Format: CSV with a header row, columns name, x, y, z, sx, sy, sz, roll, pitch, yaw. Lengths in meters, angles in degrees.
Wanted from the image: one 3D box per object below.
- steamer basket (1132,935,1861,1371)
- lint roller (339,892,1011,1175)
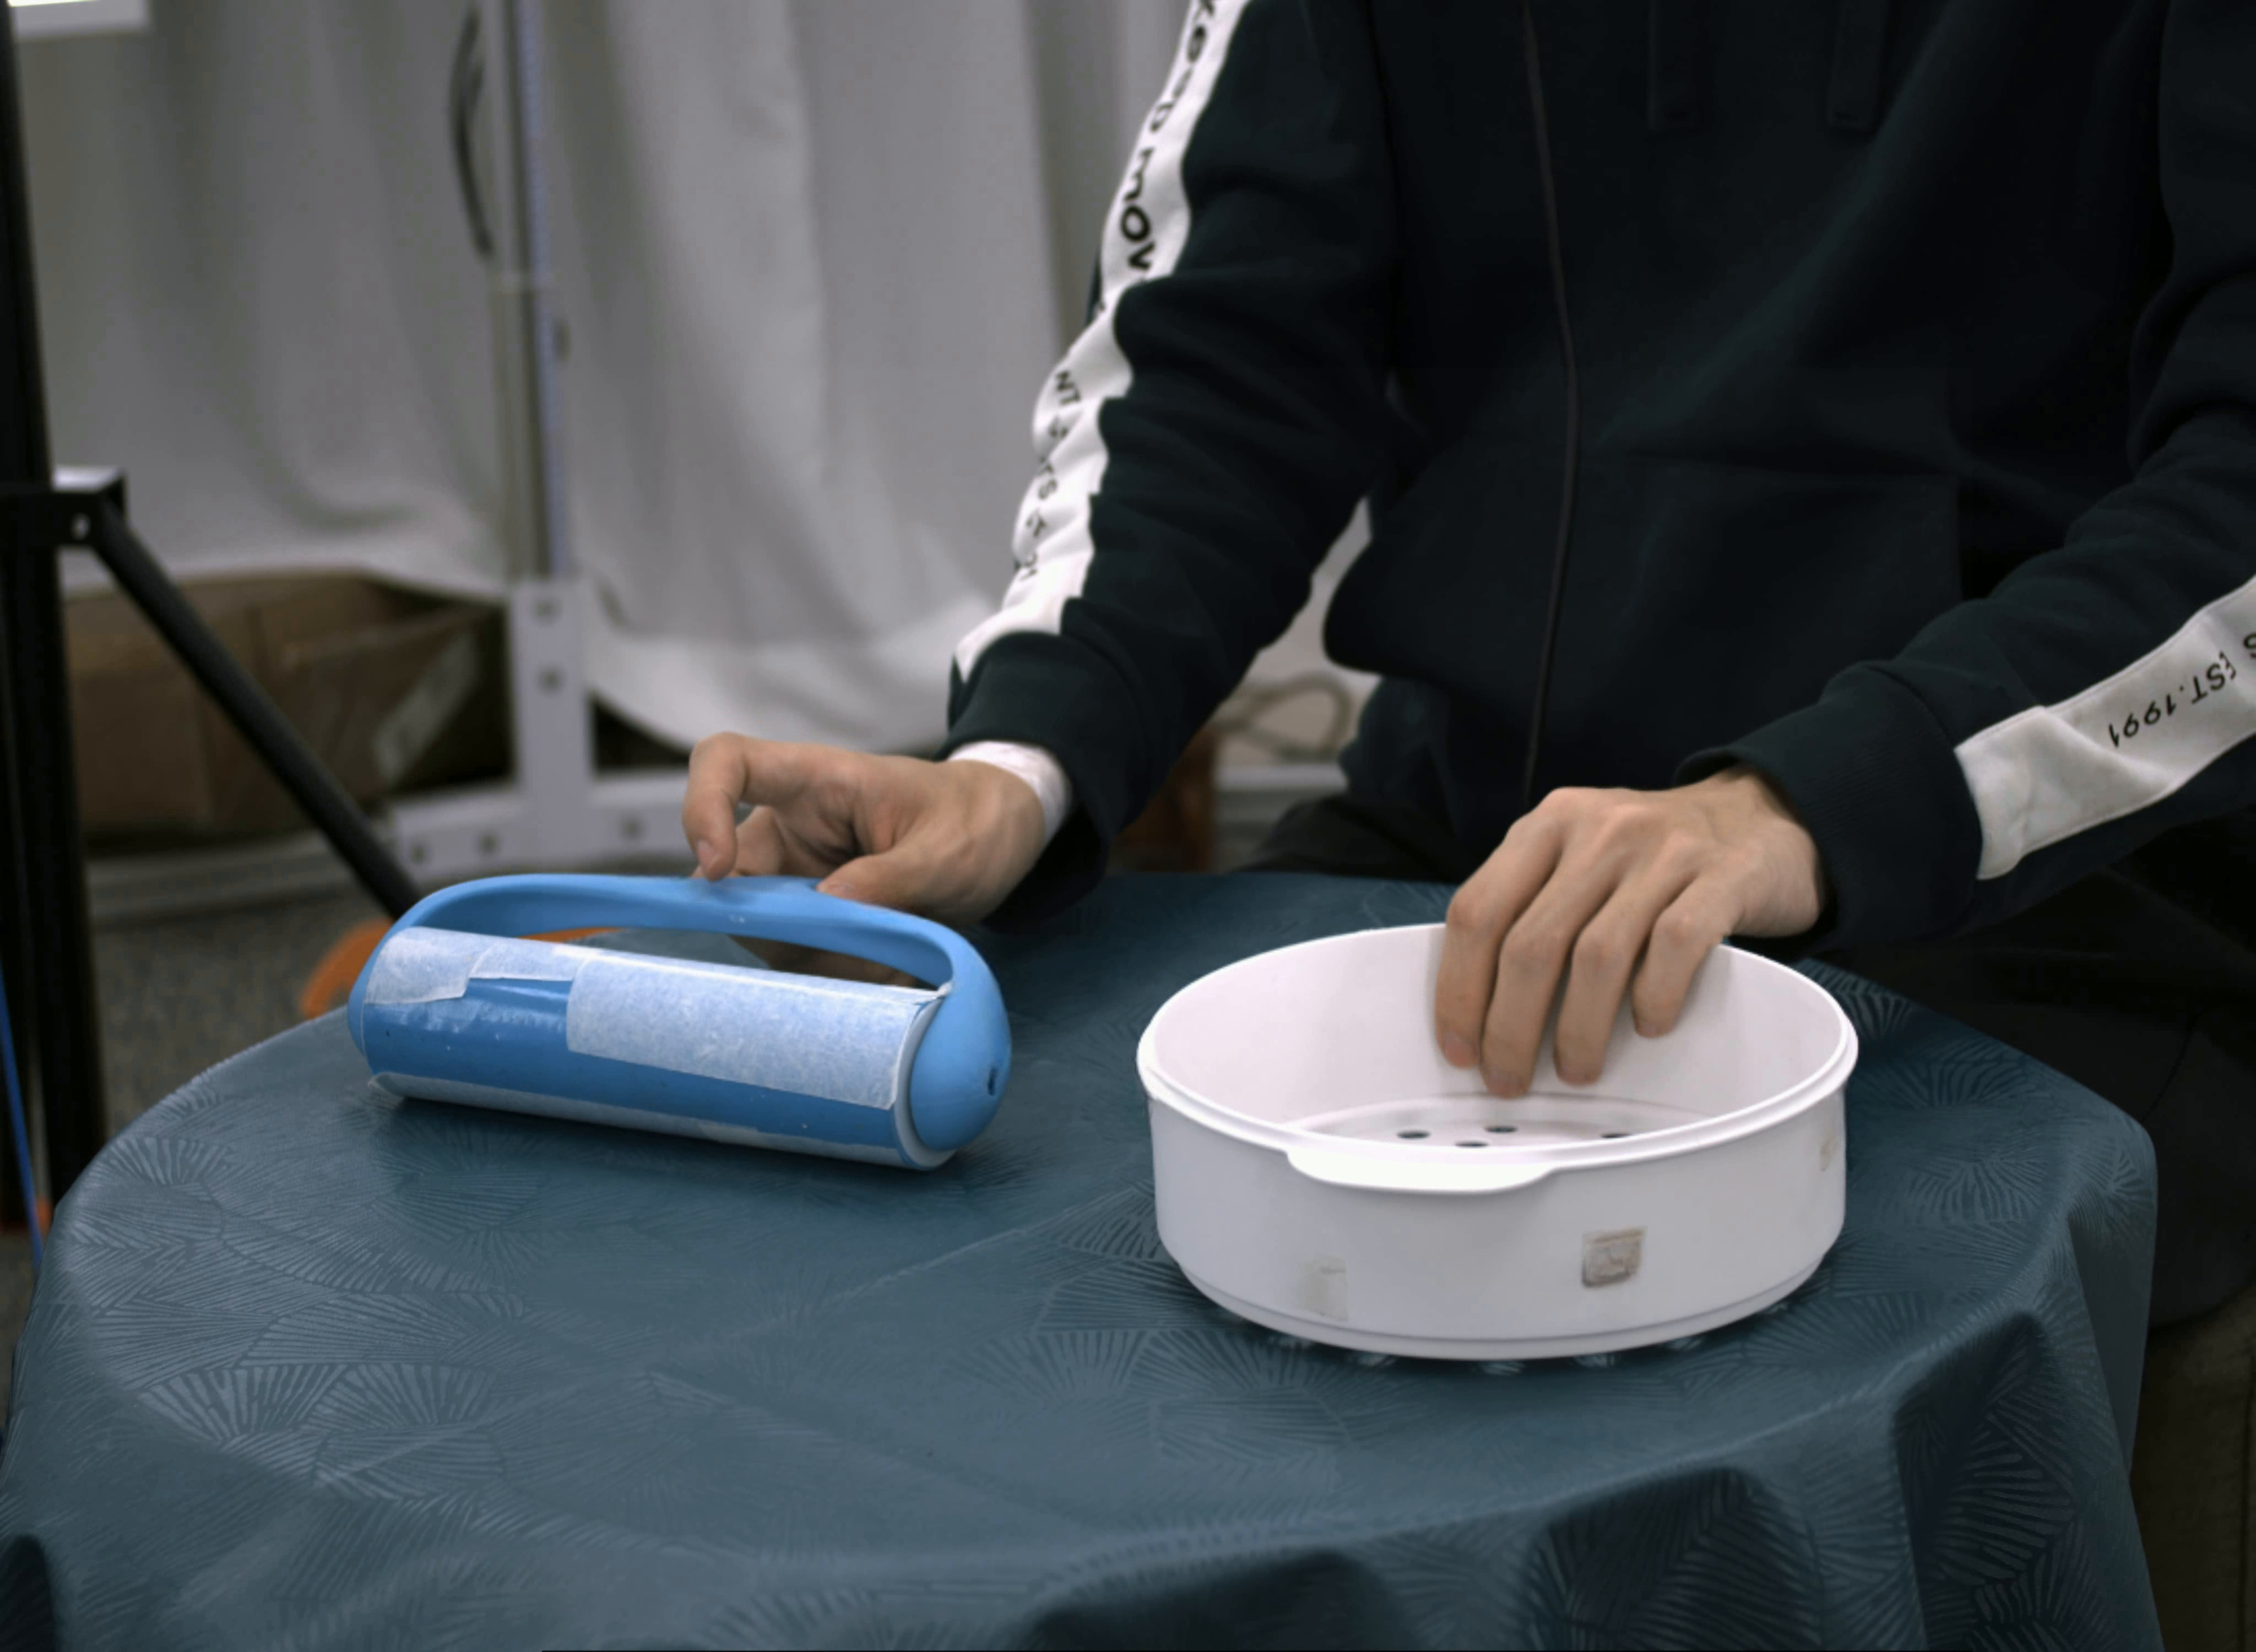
name,x,y,z,sx,sy,sz,roll,pitch,yaw
steamer basket,0.102,0.091,1.477,0.204,0.069,0.228,3,16,17
lint roller,-0.118,0.051,1.674,0.232,0.068,0.178,2,19,25
